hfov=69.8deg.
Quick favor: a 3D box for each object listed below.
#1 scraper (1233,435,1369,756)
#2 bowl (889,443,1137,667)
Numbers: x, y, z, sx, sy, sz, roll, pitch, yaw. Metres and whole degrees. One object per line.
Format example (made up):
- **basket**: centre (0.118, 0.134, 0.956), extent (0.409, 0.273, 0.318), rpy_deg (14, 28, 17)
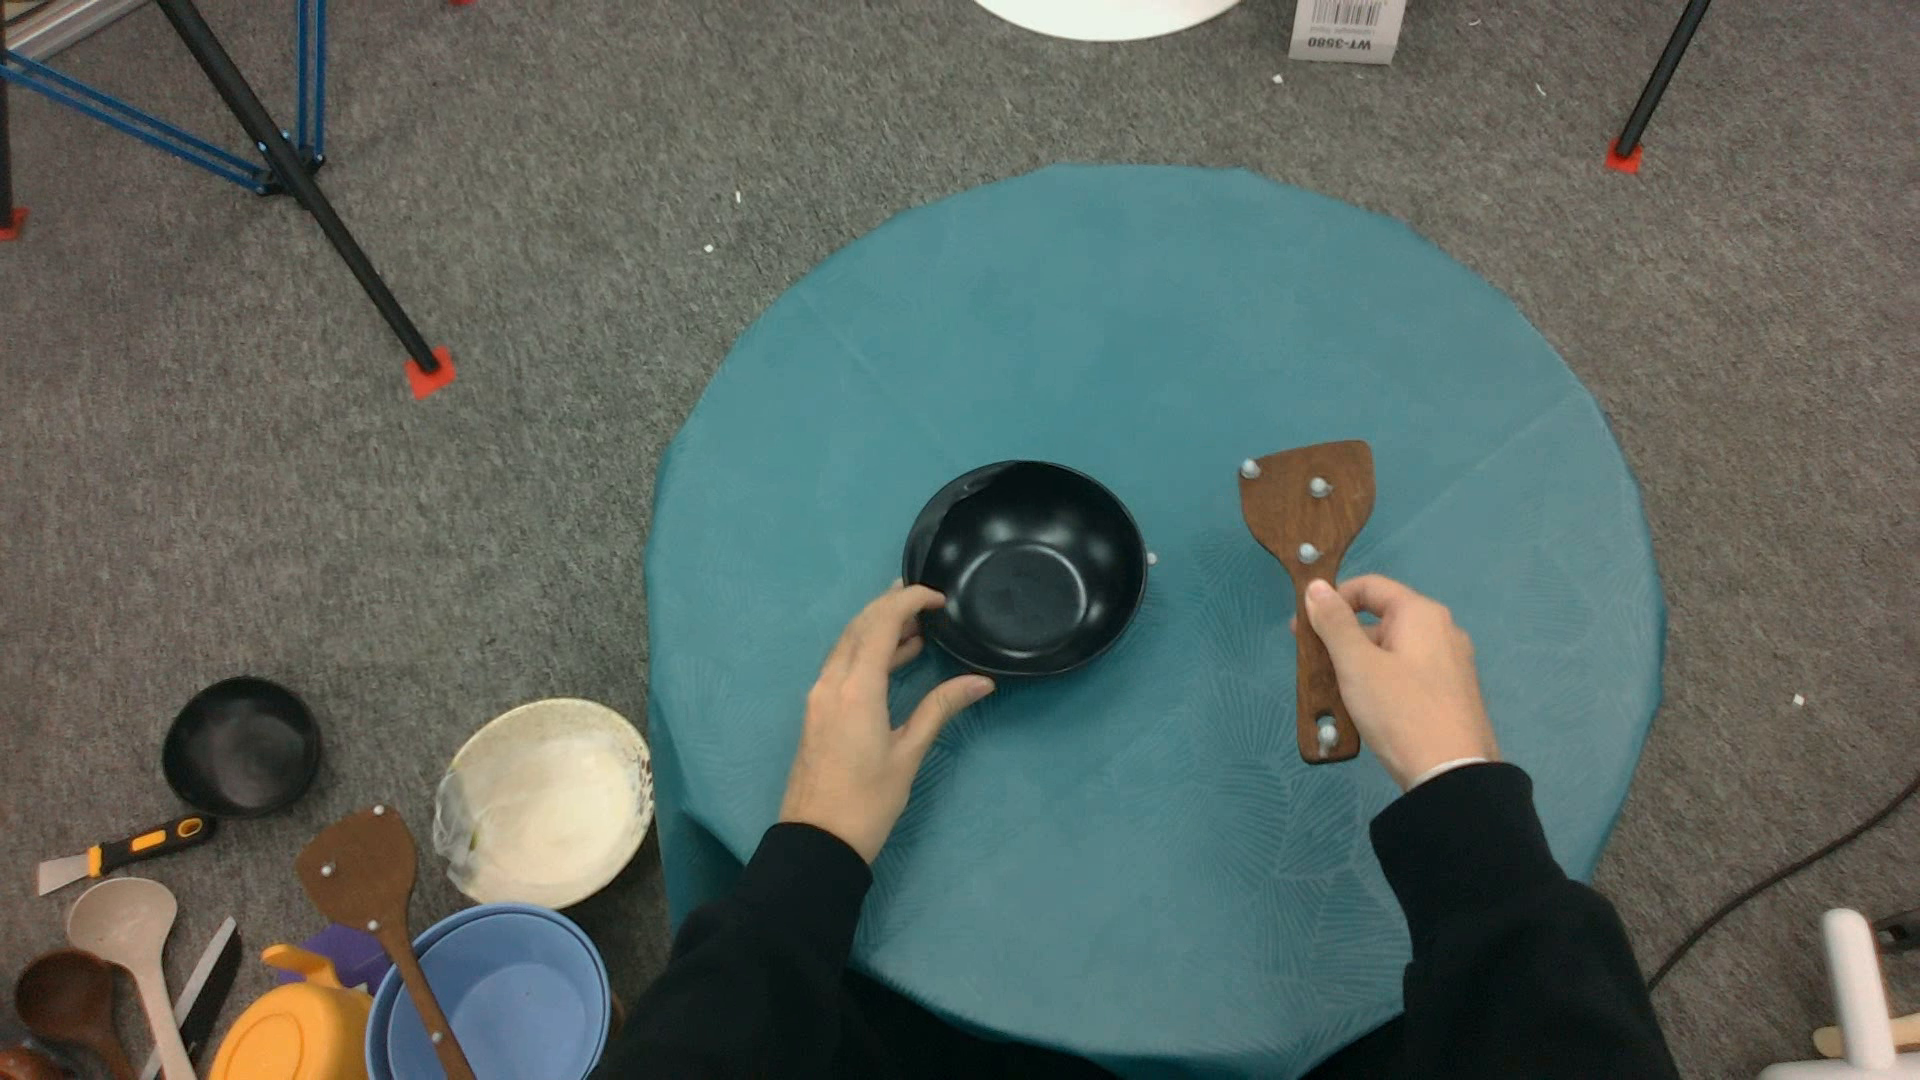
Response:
- **scraper**: centre (0.179, 0.023, 0.709), extent (0.075, 0.011, 0.212), rpy_deg (-12, 42, 22)
- **bowl**: centre (0.029, 0.015, 0.788), extent (0.140, 0.049, 0.140), rpy_deg (0, 60, -1)
